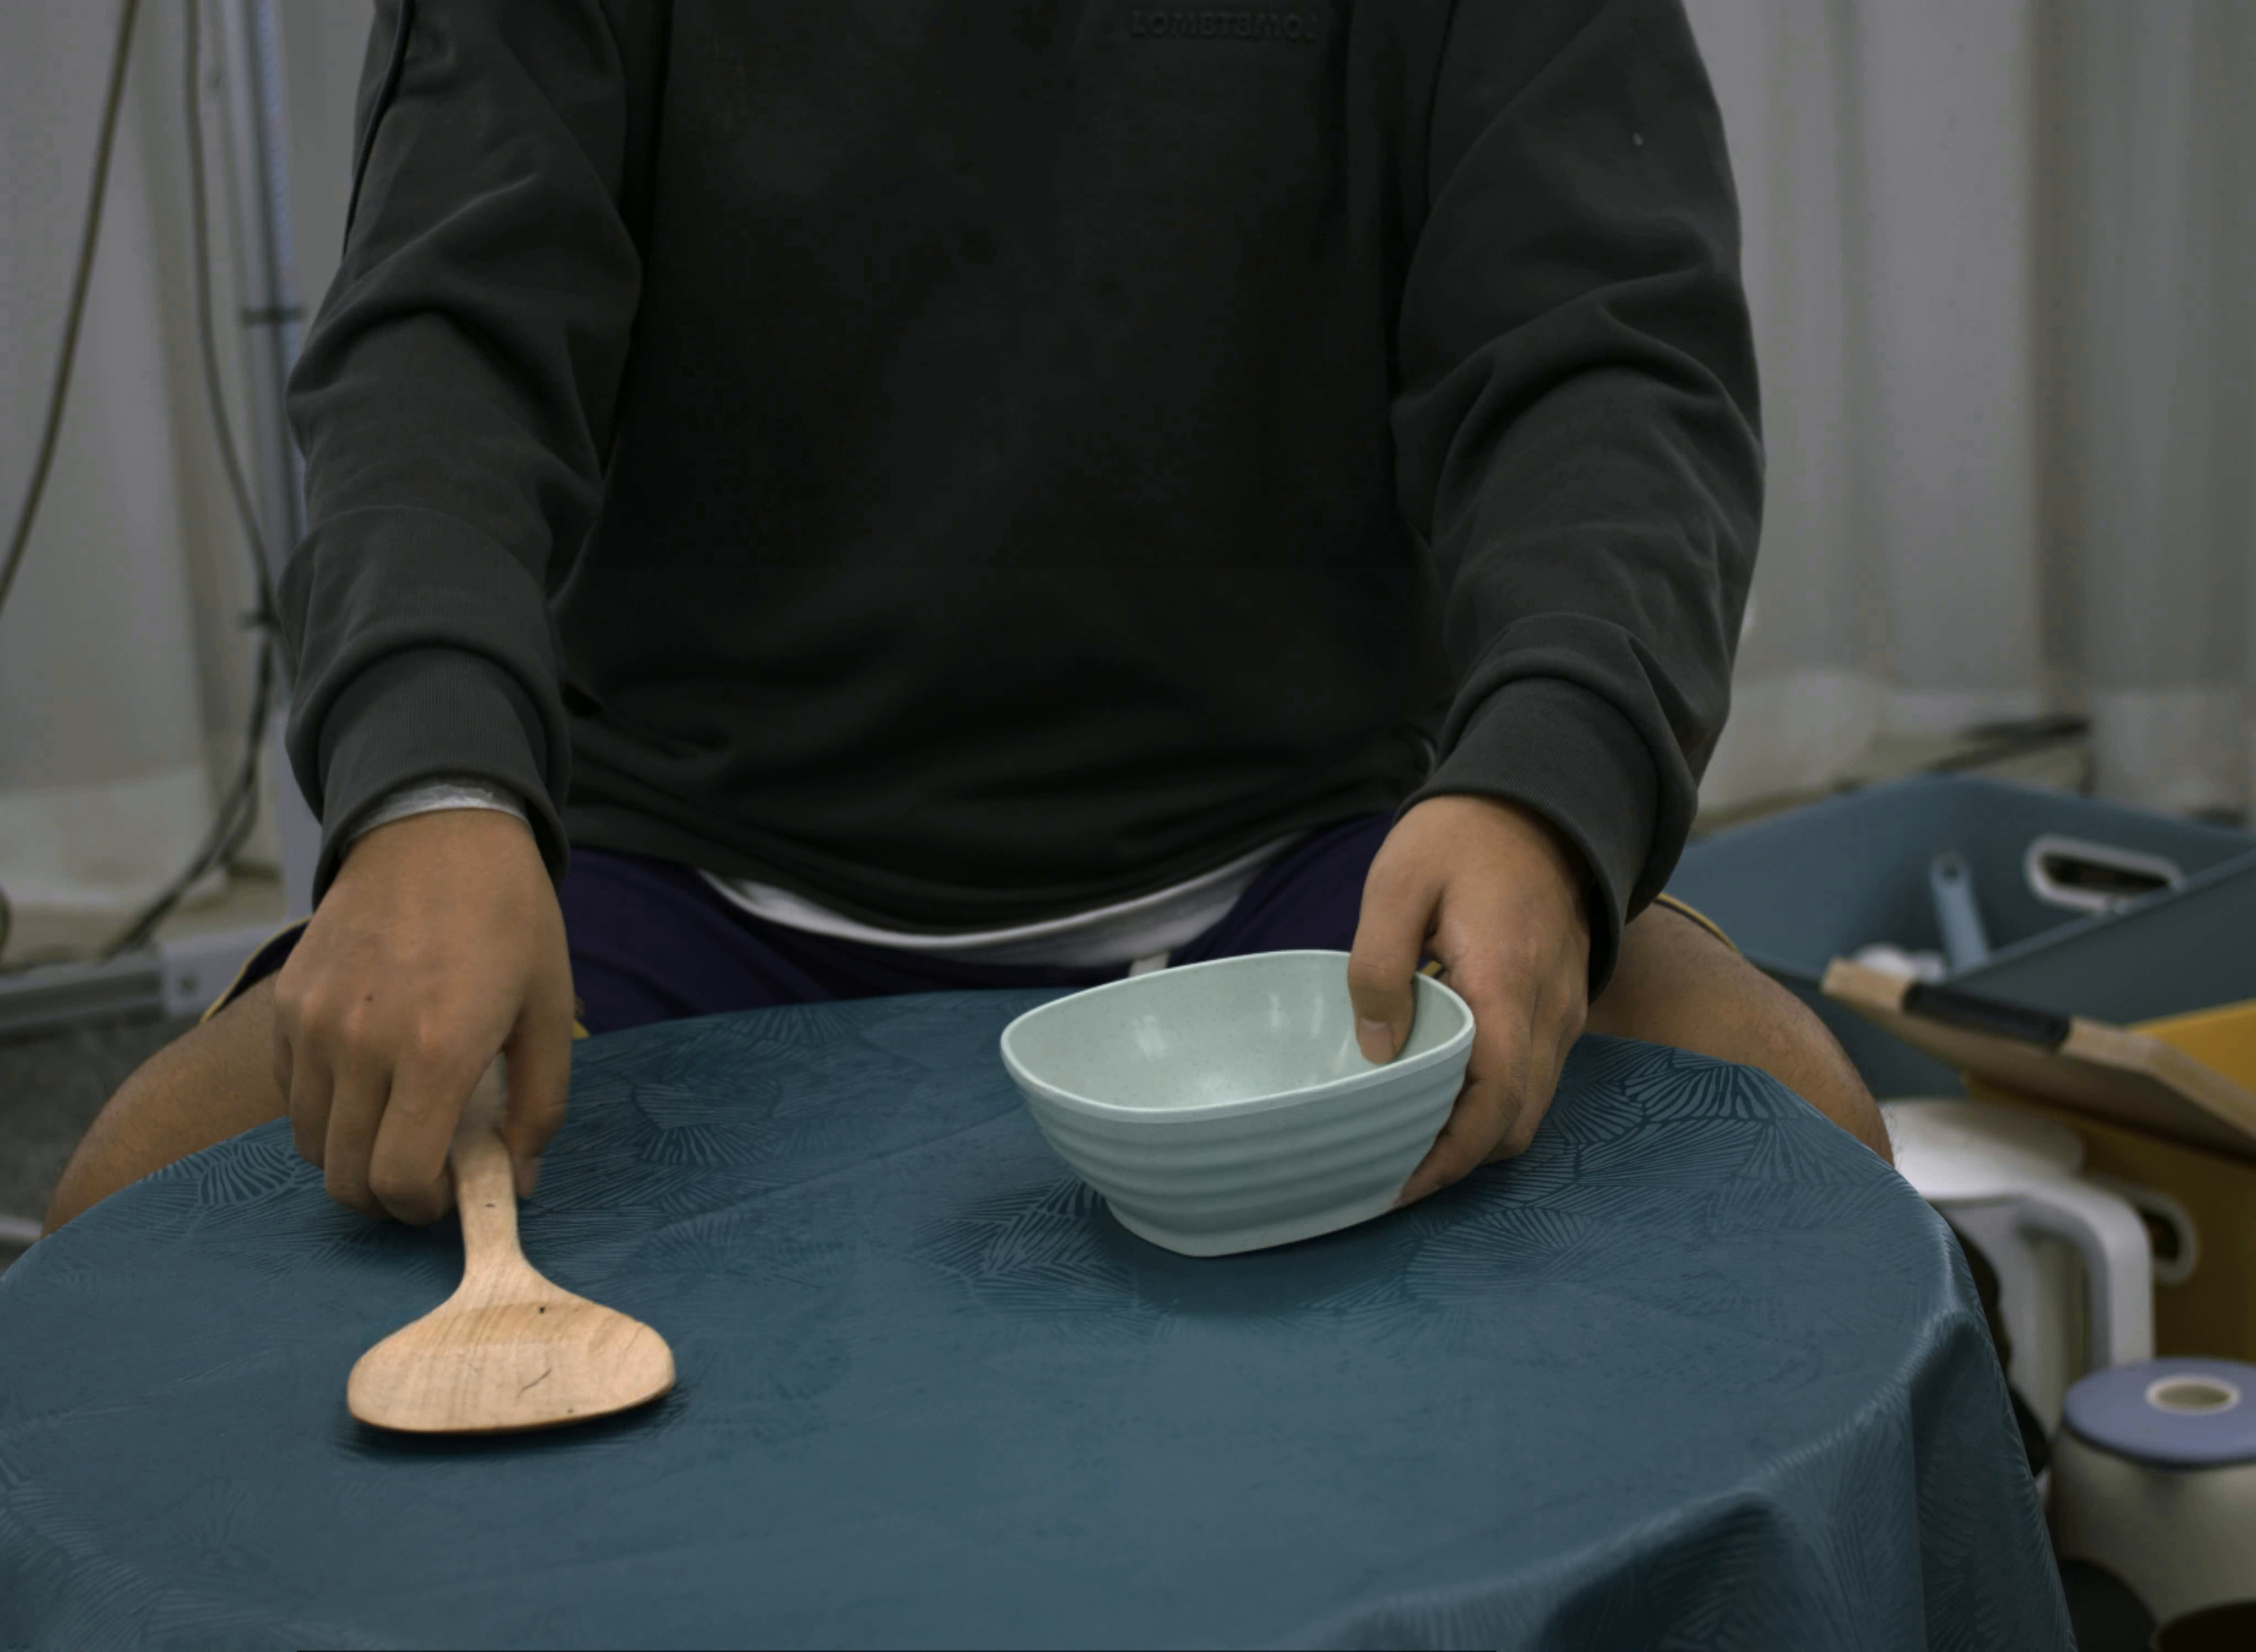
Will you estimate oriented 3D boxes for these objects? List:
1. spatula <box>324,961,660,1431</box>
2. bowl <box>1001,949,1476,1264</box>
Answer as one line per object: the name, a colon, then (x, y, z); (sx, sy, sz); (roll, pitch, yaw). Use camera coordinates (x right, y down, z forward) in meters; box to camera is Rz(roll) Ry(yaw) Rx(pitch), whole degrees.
spatula: (-0.205, 0.109, 1.708); (0.095, 0.018, 0.394); (-3, 19, -8)
bowl: (0.036, 0.090, 1.688); (0.151, 0.058, 0.152); (-5, 17, 1)
